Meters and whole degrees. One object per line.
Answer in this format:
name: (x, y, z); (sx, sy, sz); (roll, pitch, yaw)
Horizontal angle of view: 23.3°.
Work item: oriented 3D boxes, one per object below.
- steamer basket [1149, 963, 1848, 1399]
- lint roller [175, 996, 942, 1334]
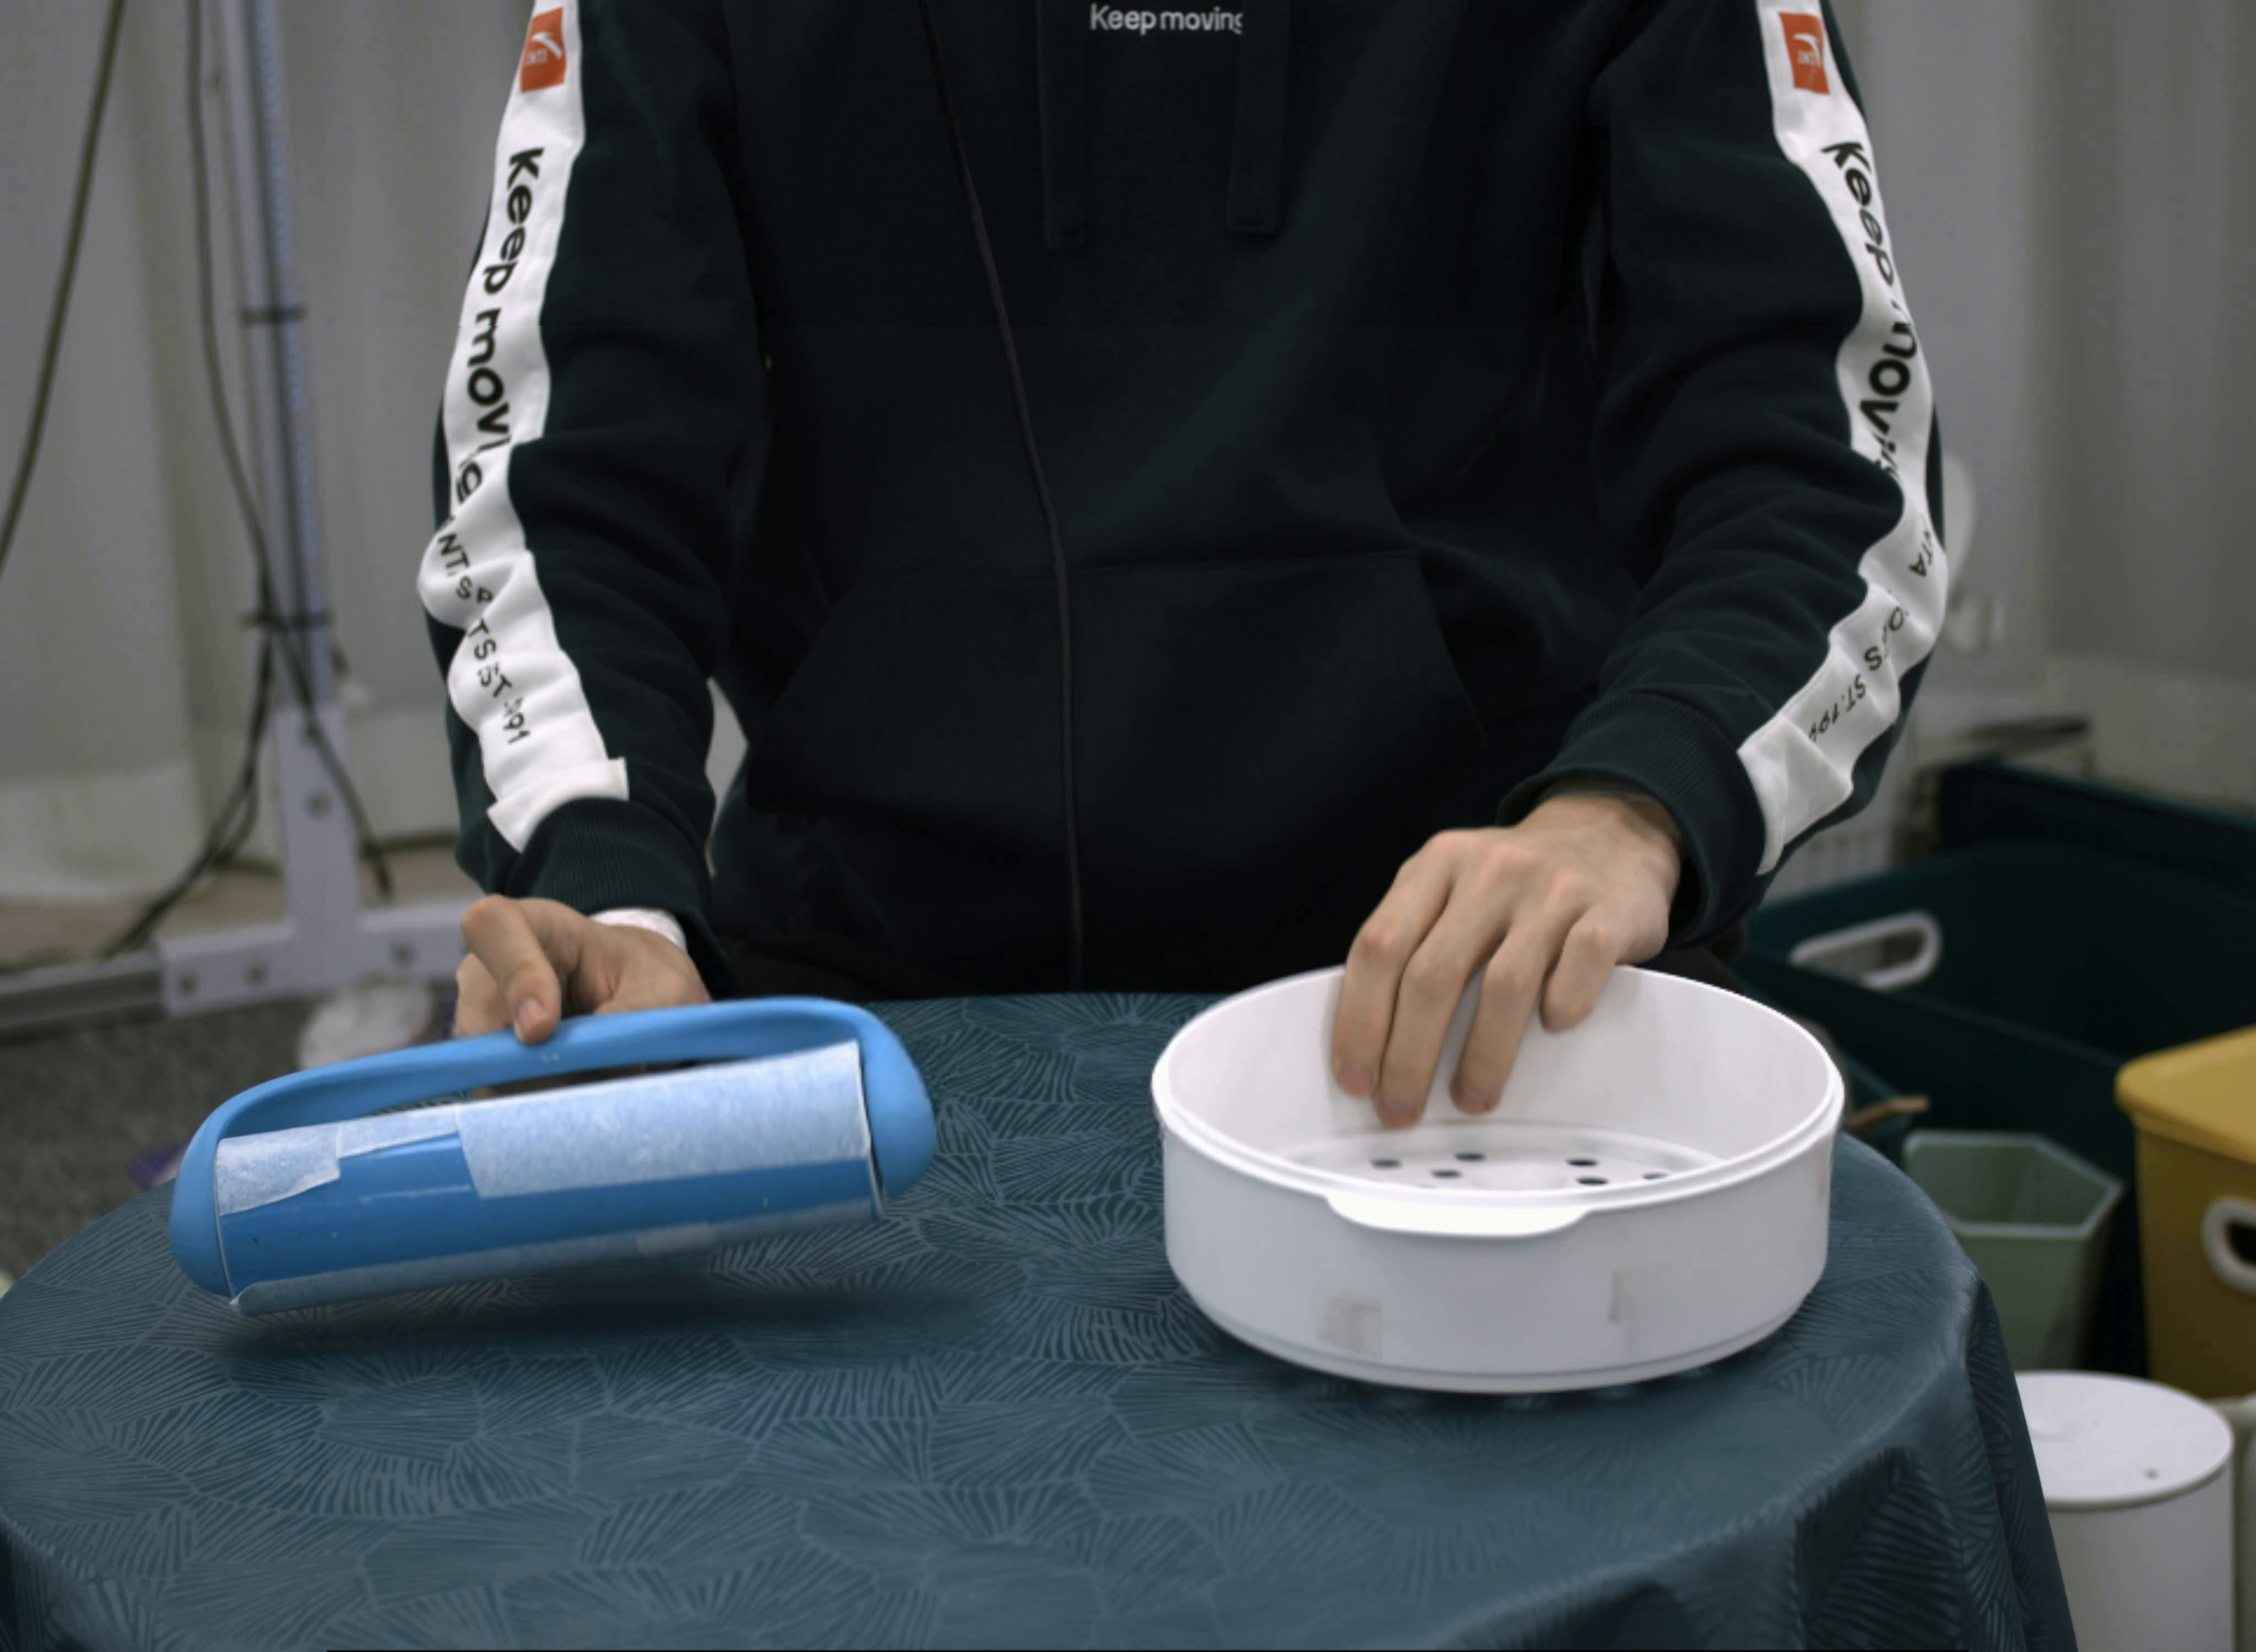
steamer basket: (0.106, 0.102, 1.586); (0.201, 0.069, 0.232); (5, 17, 9)
lint roller: (-0.174, 0.092, 1.671); (0.228, 0.068, 0.181); (-12, 13, -3)
